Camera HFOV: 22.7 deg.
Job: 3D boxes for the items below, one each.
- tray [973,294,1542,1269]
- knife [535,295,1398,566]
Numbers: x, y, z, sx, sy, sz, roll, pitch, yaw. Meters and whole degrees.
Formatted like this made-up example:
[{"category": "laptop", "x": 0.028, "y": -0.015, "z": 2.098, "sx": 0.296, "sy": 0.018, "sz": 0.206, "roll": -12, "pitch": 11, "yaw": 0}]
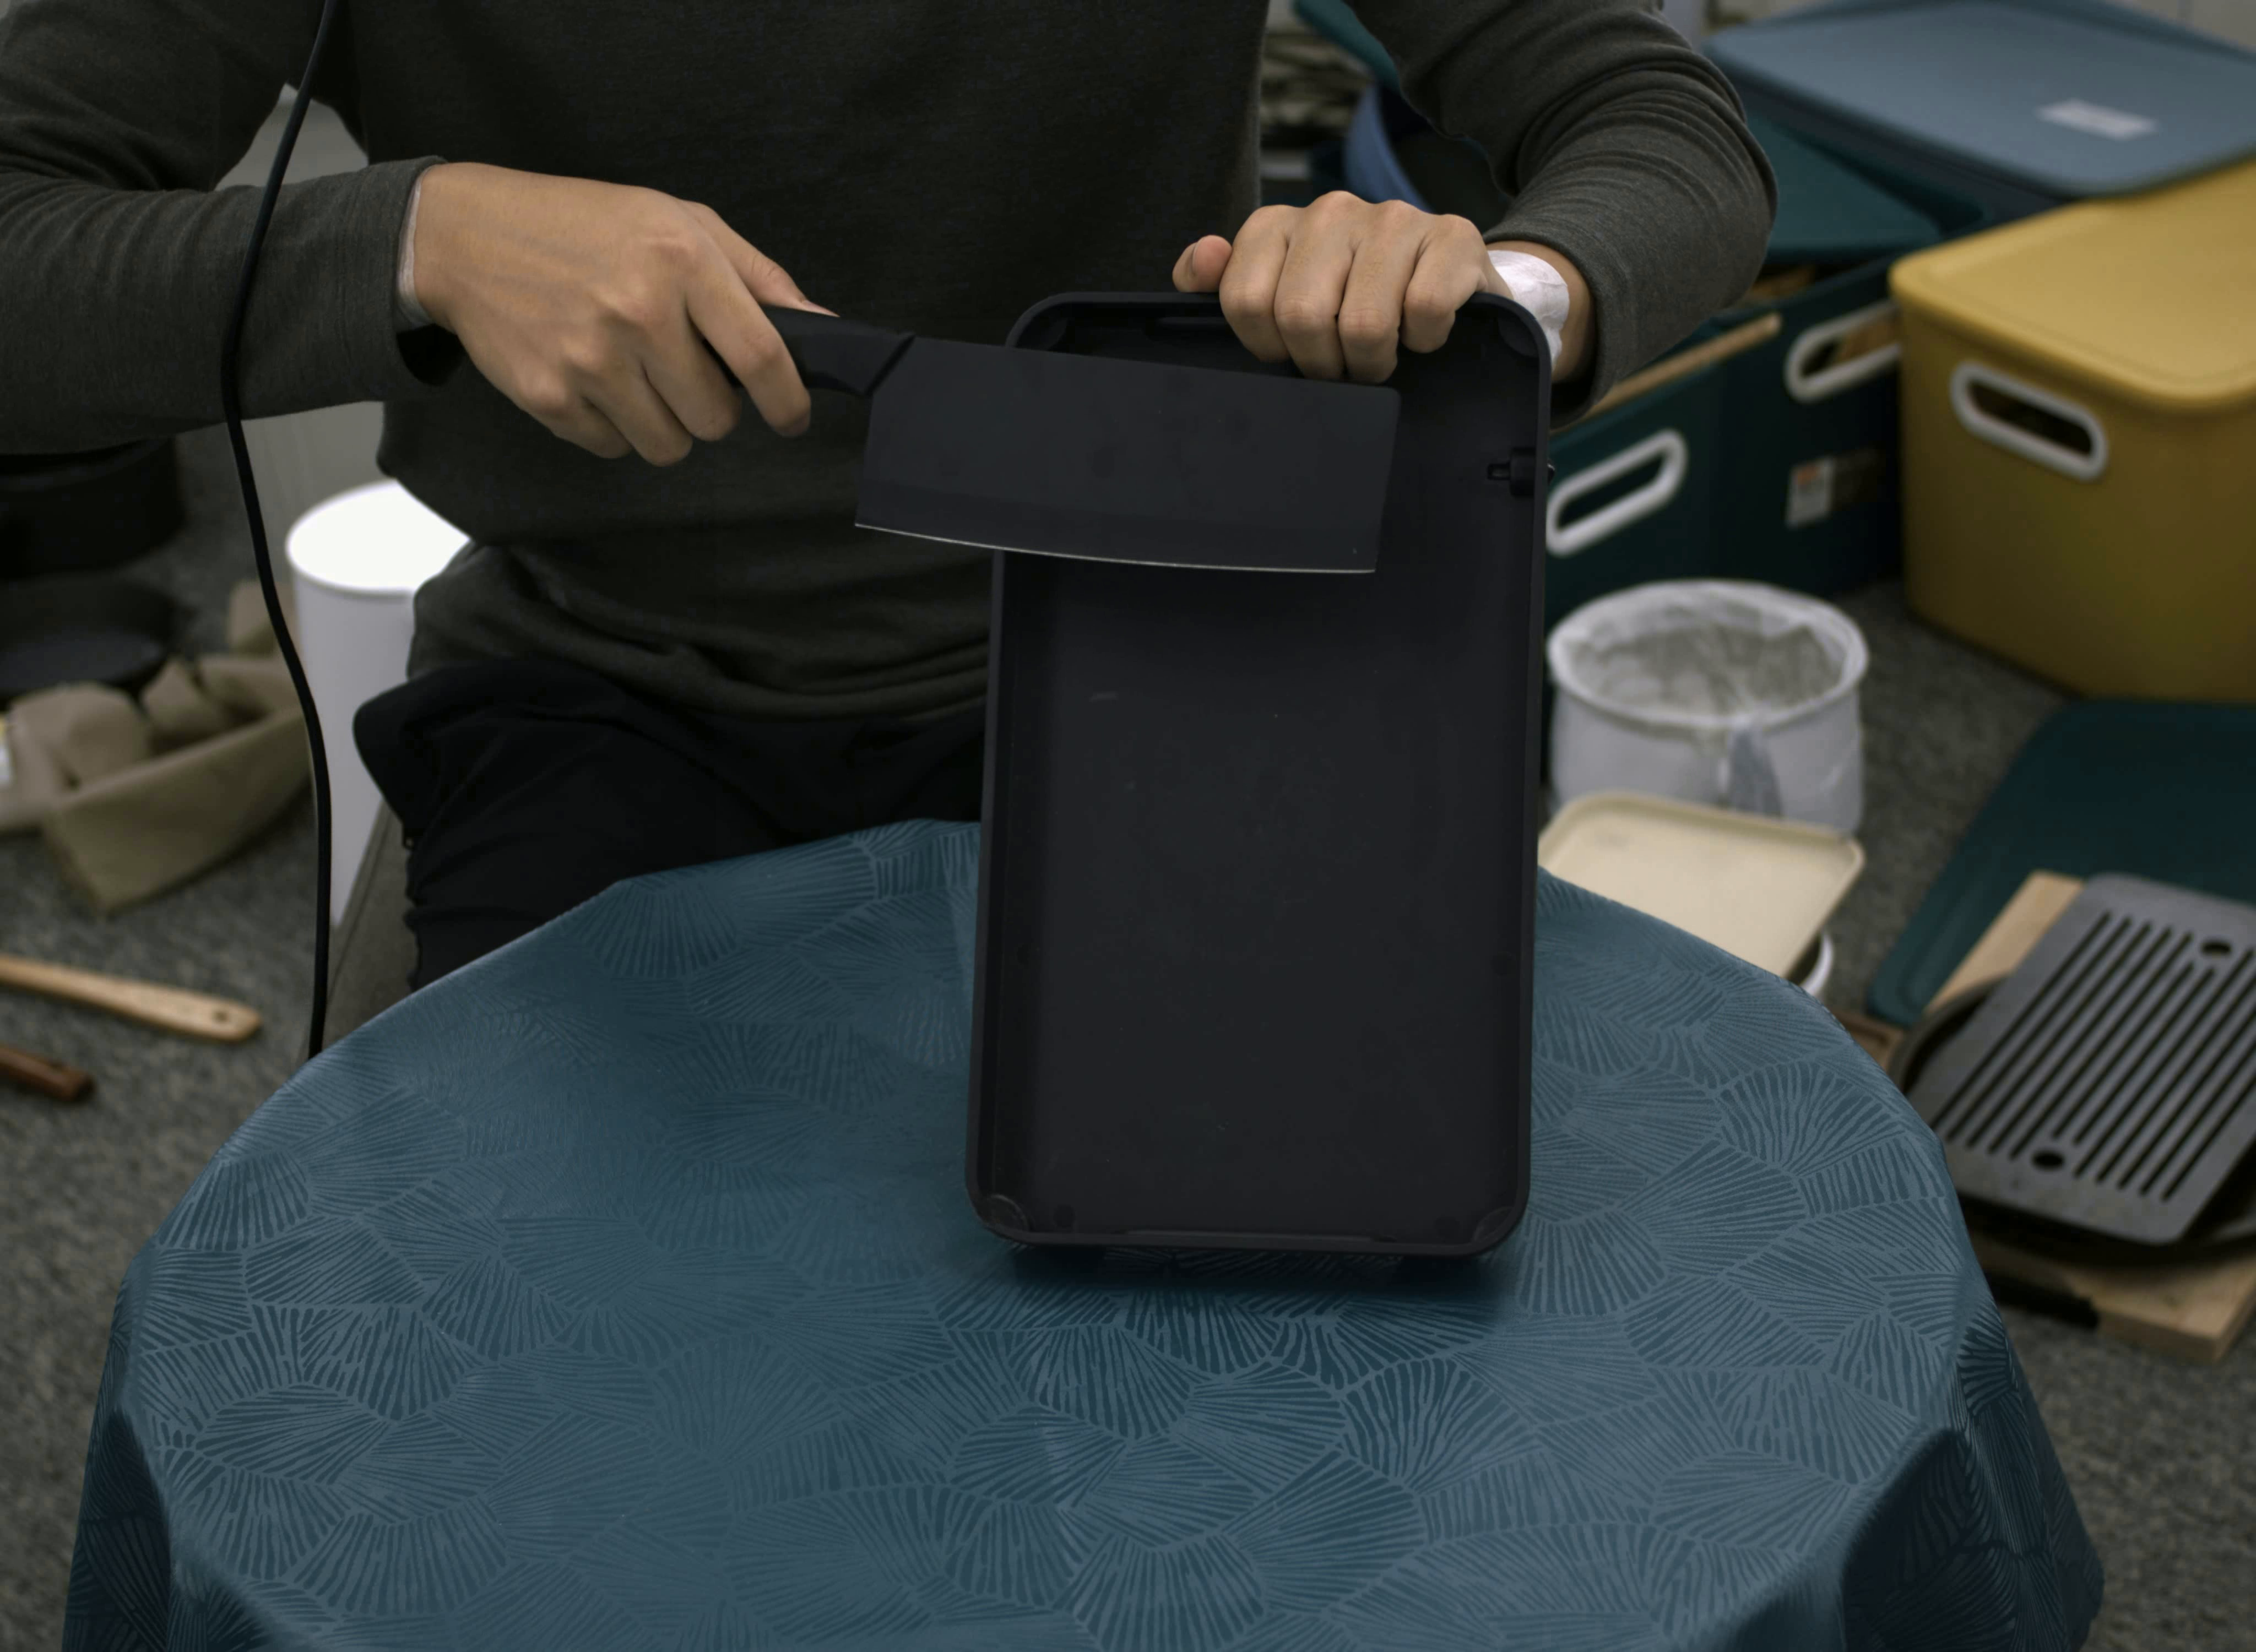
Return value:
[{"category": "tray", "x": 0.043, "y": -0.013, "z": 1.840, "sx": 0.183, "sy": 0.322, "sz": 0.037, "roll": -1, "pitch": -12, "yaw": 7}, {"category": "knife", "x": -0.056, "y": -0.133, "z": 1.862, "sx": 0.300, "sy": 0.081, "sz": 0.021, "roll": 12, "pitch": -6, "yaw": 17}]
